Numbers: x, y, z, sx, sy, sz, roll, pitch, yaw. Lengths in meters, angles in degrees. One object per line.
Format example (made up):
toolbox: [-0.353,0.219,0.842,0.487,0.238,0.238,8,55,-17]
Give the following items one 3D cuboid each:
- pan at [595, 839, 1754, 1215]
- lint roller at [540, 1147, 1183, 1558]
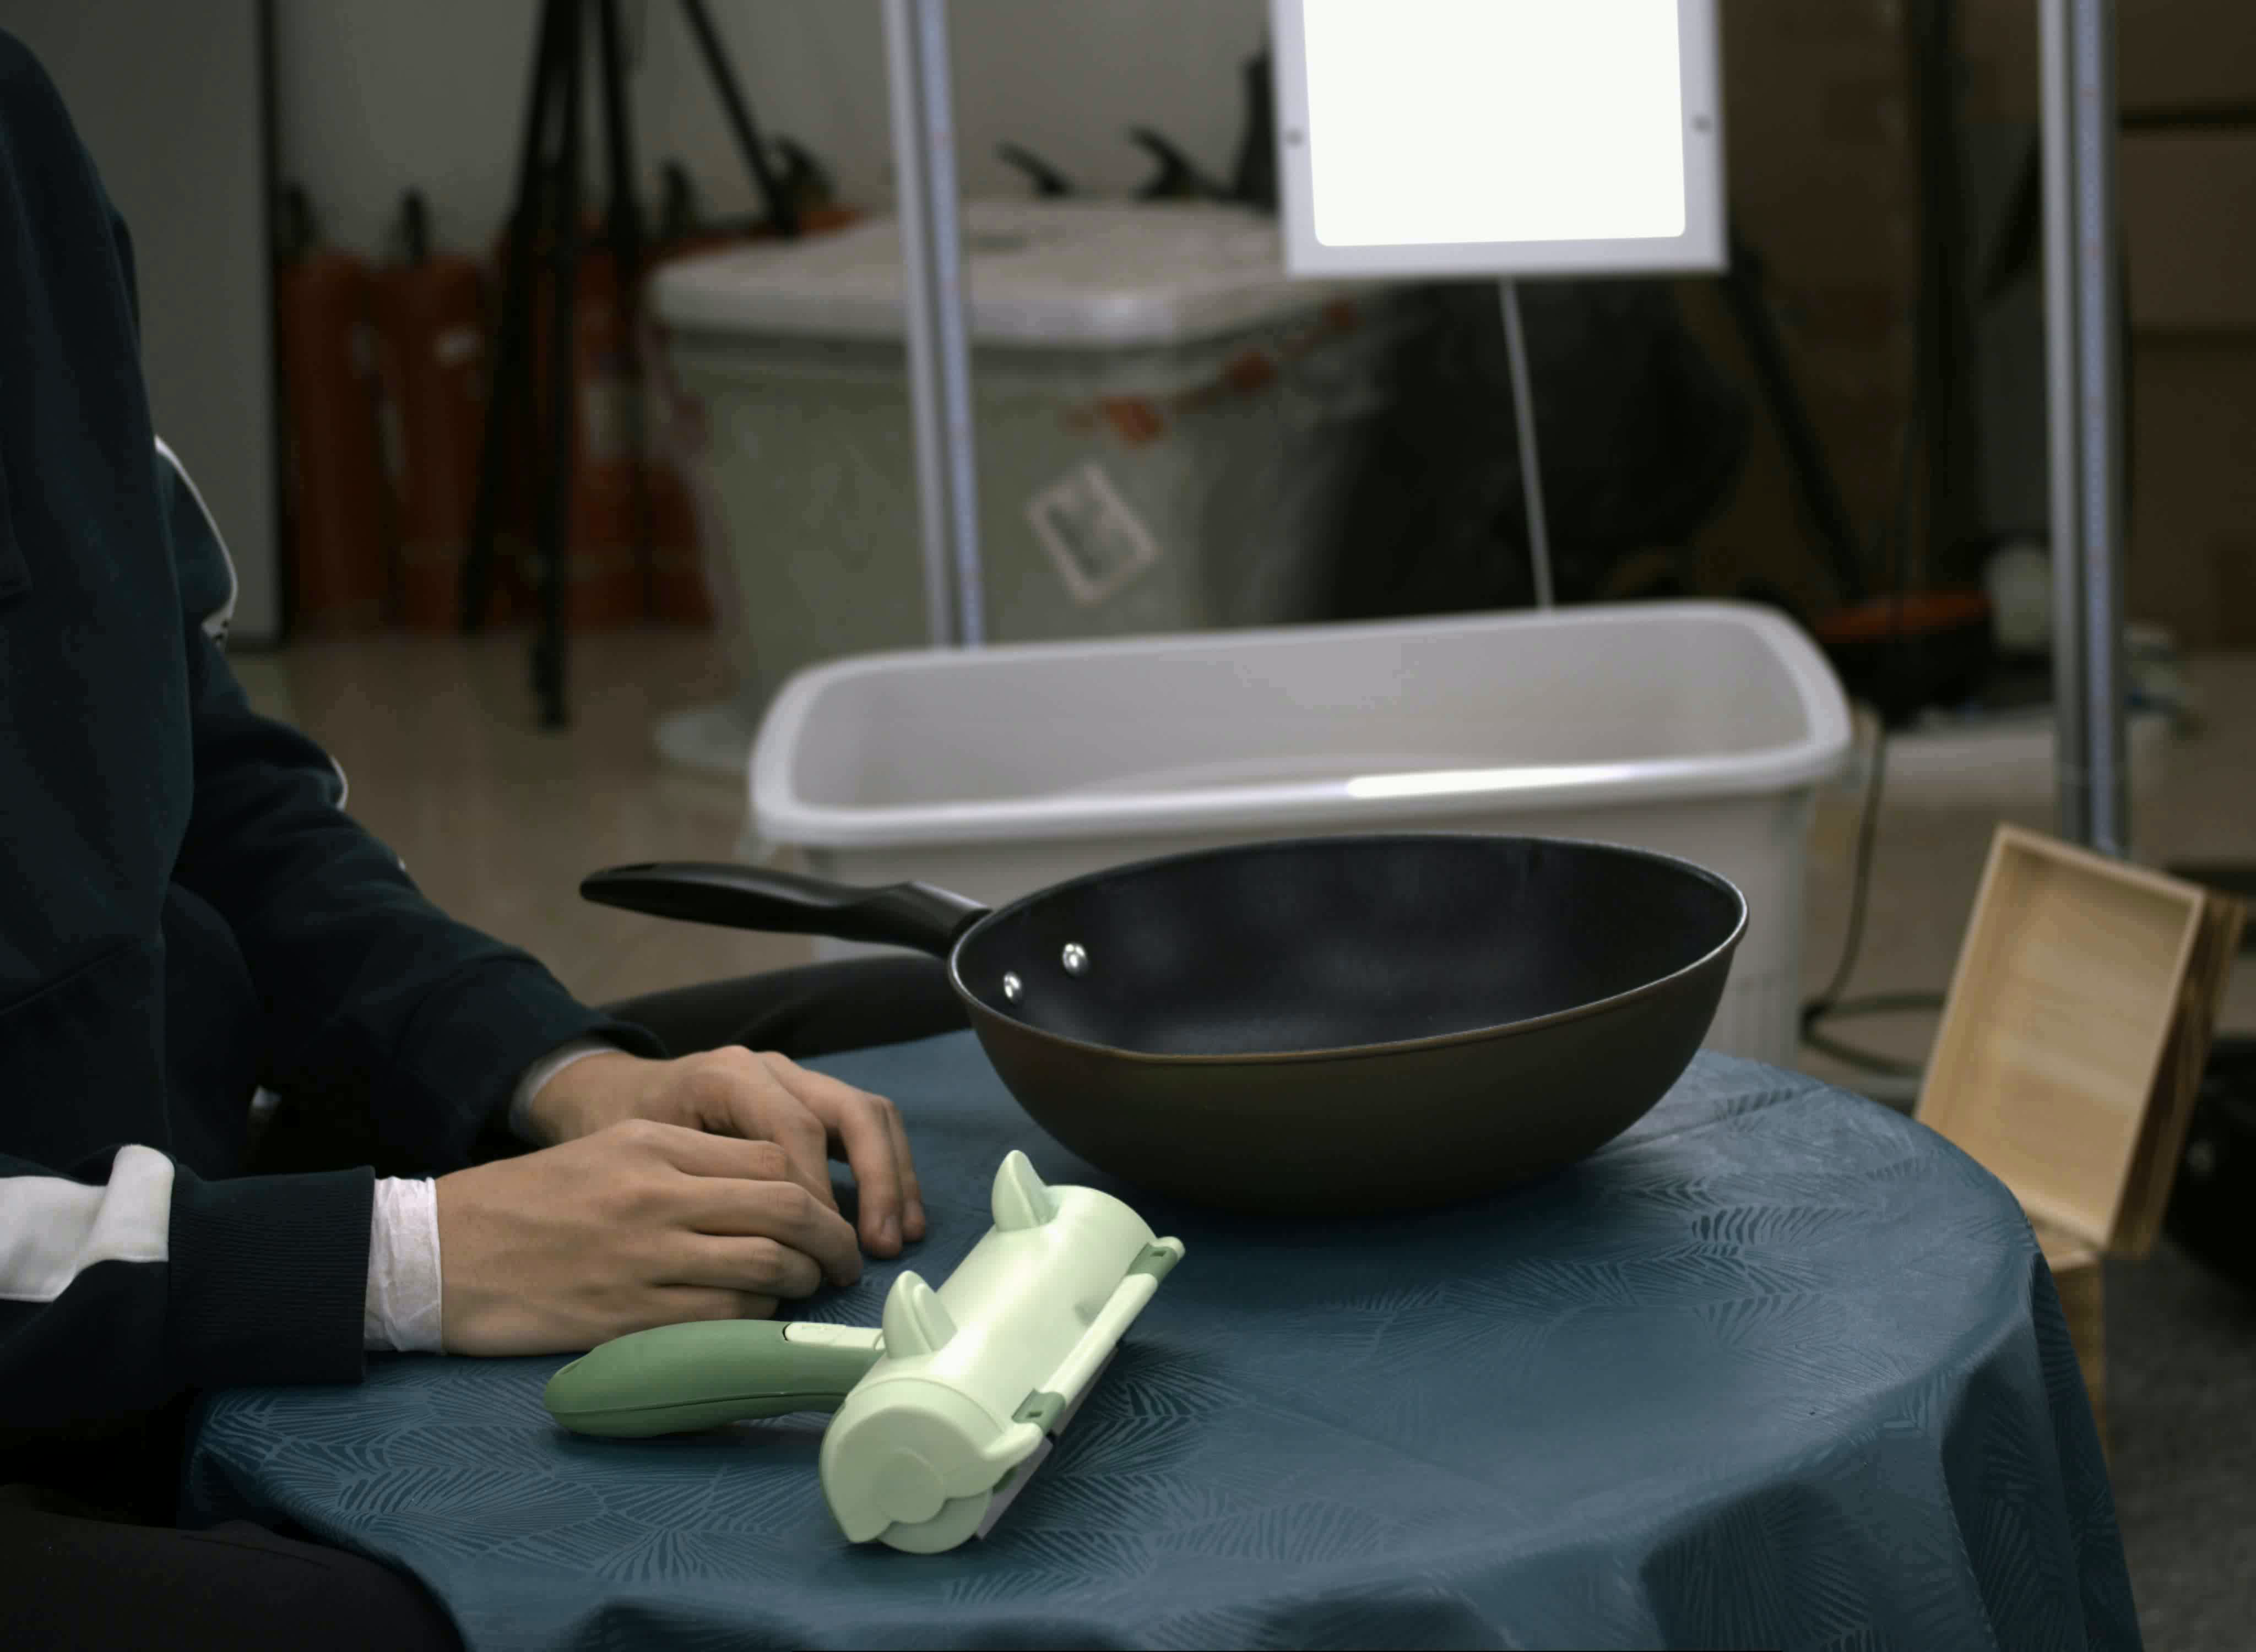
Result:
pan: [0.001,0.070,1.953,0.472,0.087,0.281,2,15,32]
lint roller: [-0.093,0.150,1.674,0.185,0.082,0.195,4,16,16]
